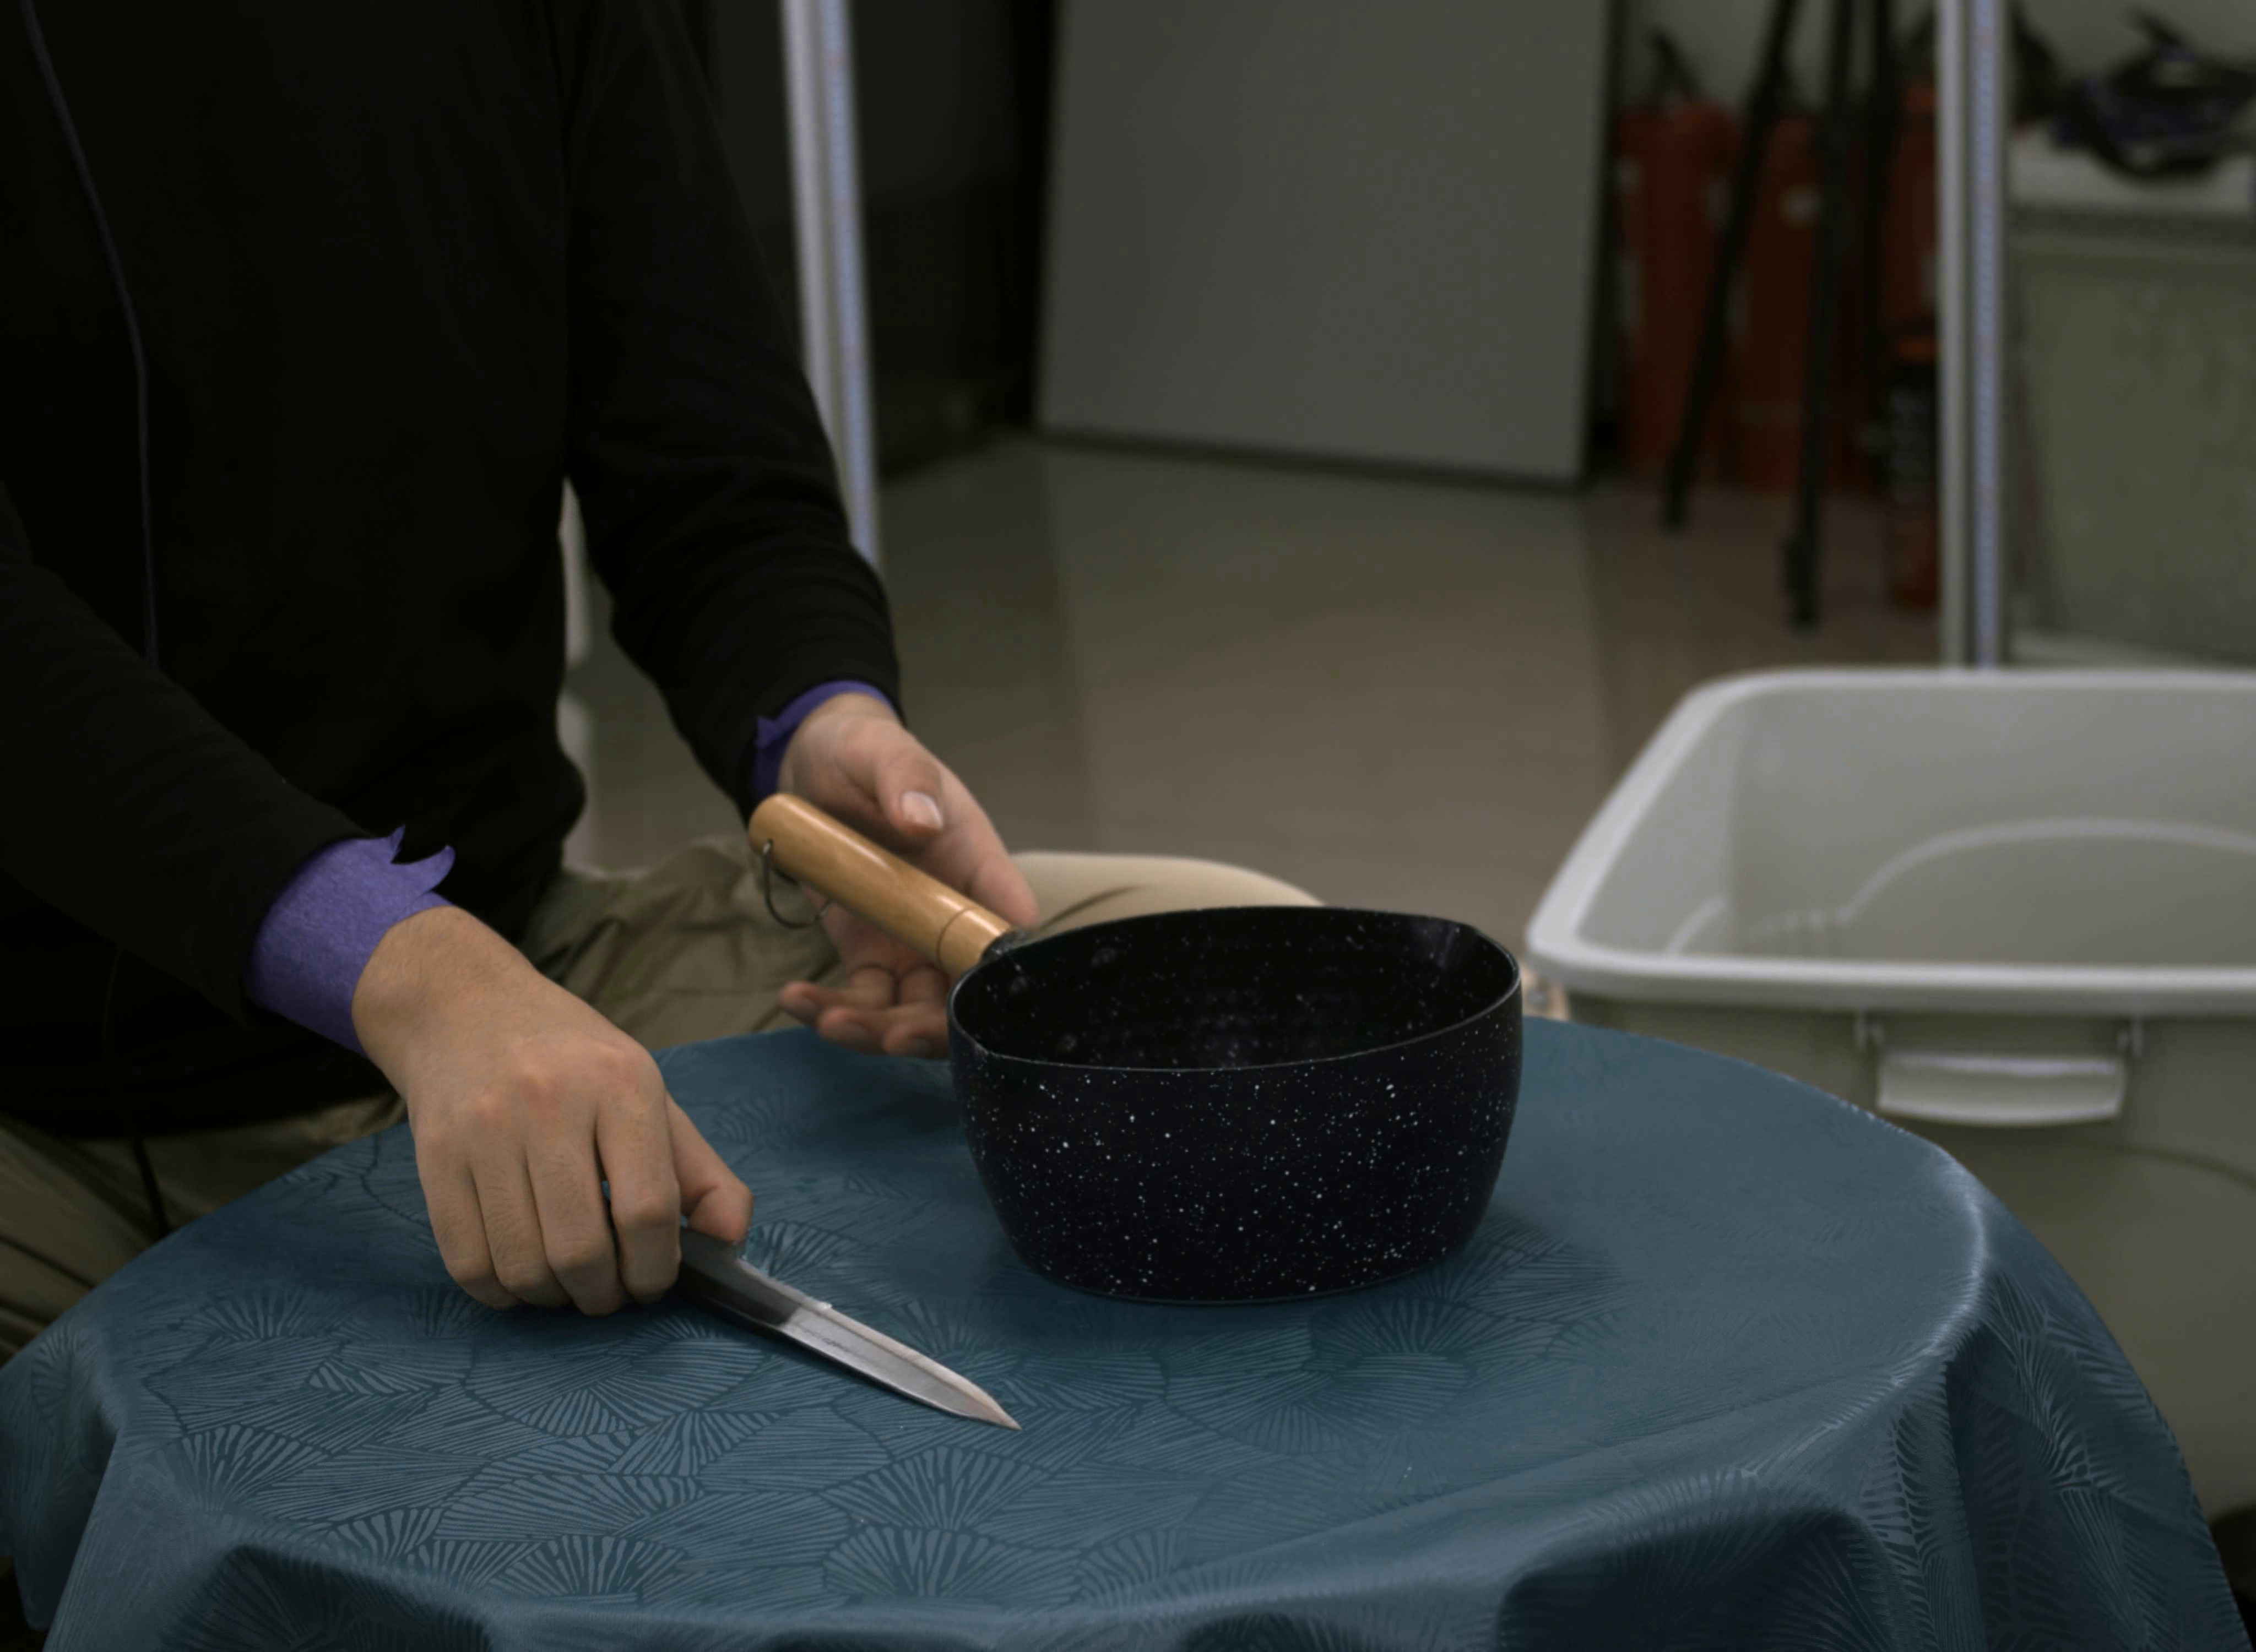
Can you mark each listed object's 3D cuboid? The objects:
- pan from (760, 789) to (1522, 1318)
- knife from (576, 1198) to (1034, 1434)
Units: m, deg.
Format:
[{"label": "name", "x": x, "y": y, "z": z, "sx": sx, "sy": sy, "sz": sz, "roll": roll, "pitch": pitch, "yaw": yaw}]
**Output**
[{"label": "pan", "x": -0.016, "y": 0.068, "z": 1.773, "sx": 0.203, "sy": 0.109, "sz": 0.346, "roll": -15, "pitch": 19, "yaw": -37}, {"label": "knife", "x": -0.103, "y": 0.152, "z": 1.655, "sx": 0.024, "sy": 0.016, "sz": 0.241, "roll": -17, "pitch": 22, "yaw": -34}]
